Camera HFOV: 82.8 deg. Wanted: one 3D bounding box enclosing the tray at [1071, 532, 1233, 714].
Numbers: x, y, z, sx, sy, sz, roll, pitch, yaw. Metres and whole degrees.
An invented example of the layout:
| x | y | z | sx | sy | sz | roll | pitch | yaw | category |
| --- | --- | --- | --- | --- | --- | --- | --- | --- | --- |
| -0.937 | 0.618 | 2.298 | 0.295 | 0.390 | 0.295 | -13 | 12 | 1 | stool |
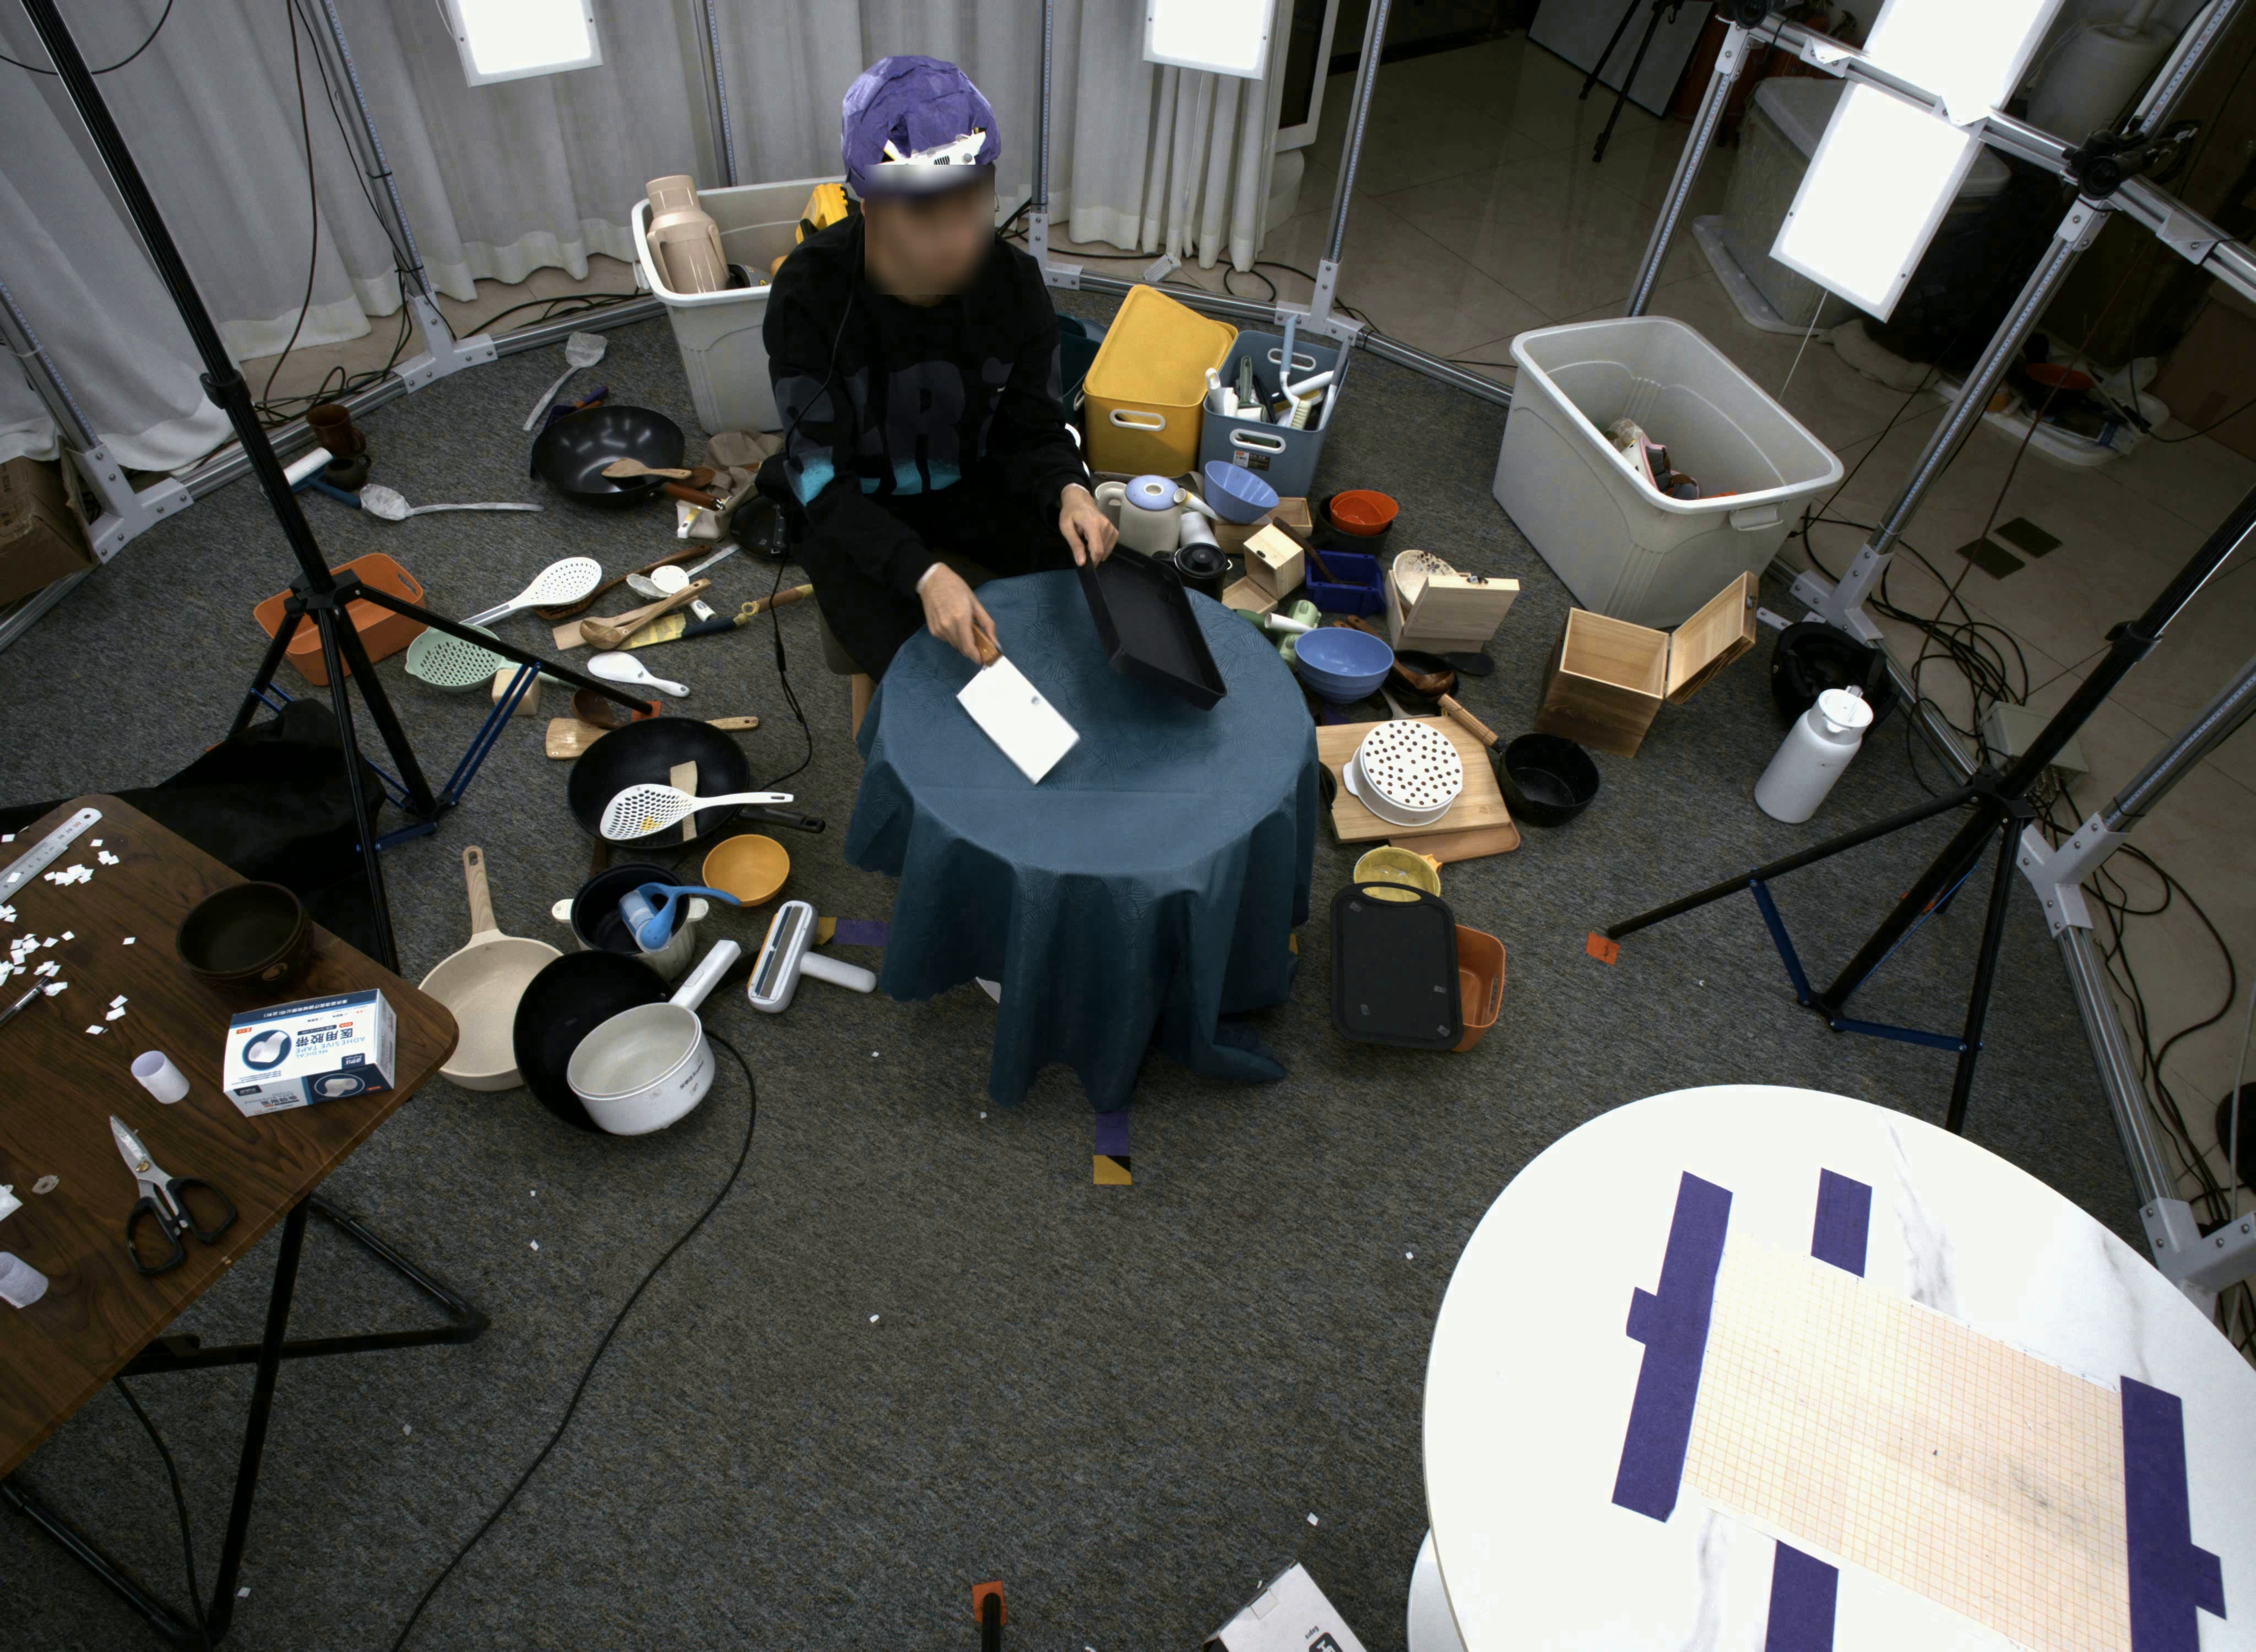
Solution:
| x | y | z | sx | sy | sz | roll | pitch | yaw | category |
| --- | --- | --- | --- | --- | --- | --- | --- | --- | --- |
| 0.030 | -0.292 | 1.830 | 0.182 | 0.036 | 0.326 | 17 | 36 | -32 | tray |

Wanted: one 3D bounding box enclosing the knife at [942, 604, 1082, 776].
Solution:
| x | y | z | sx | sy | sz | roll | pitch | yaw | category |
| --- | --- | --- | --- | --- | --- | --- | --- | --- | --- |
| -0.181 | -0.186 | 1.771 | 0.093 | 0.020 | 0.311 | -41 | 64 | 0 | knife |
